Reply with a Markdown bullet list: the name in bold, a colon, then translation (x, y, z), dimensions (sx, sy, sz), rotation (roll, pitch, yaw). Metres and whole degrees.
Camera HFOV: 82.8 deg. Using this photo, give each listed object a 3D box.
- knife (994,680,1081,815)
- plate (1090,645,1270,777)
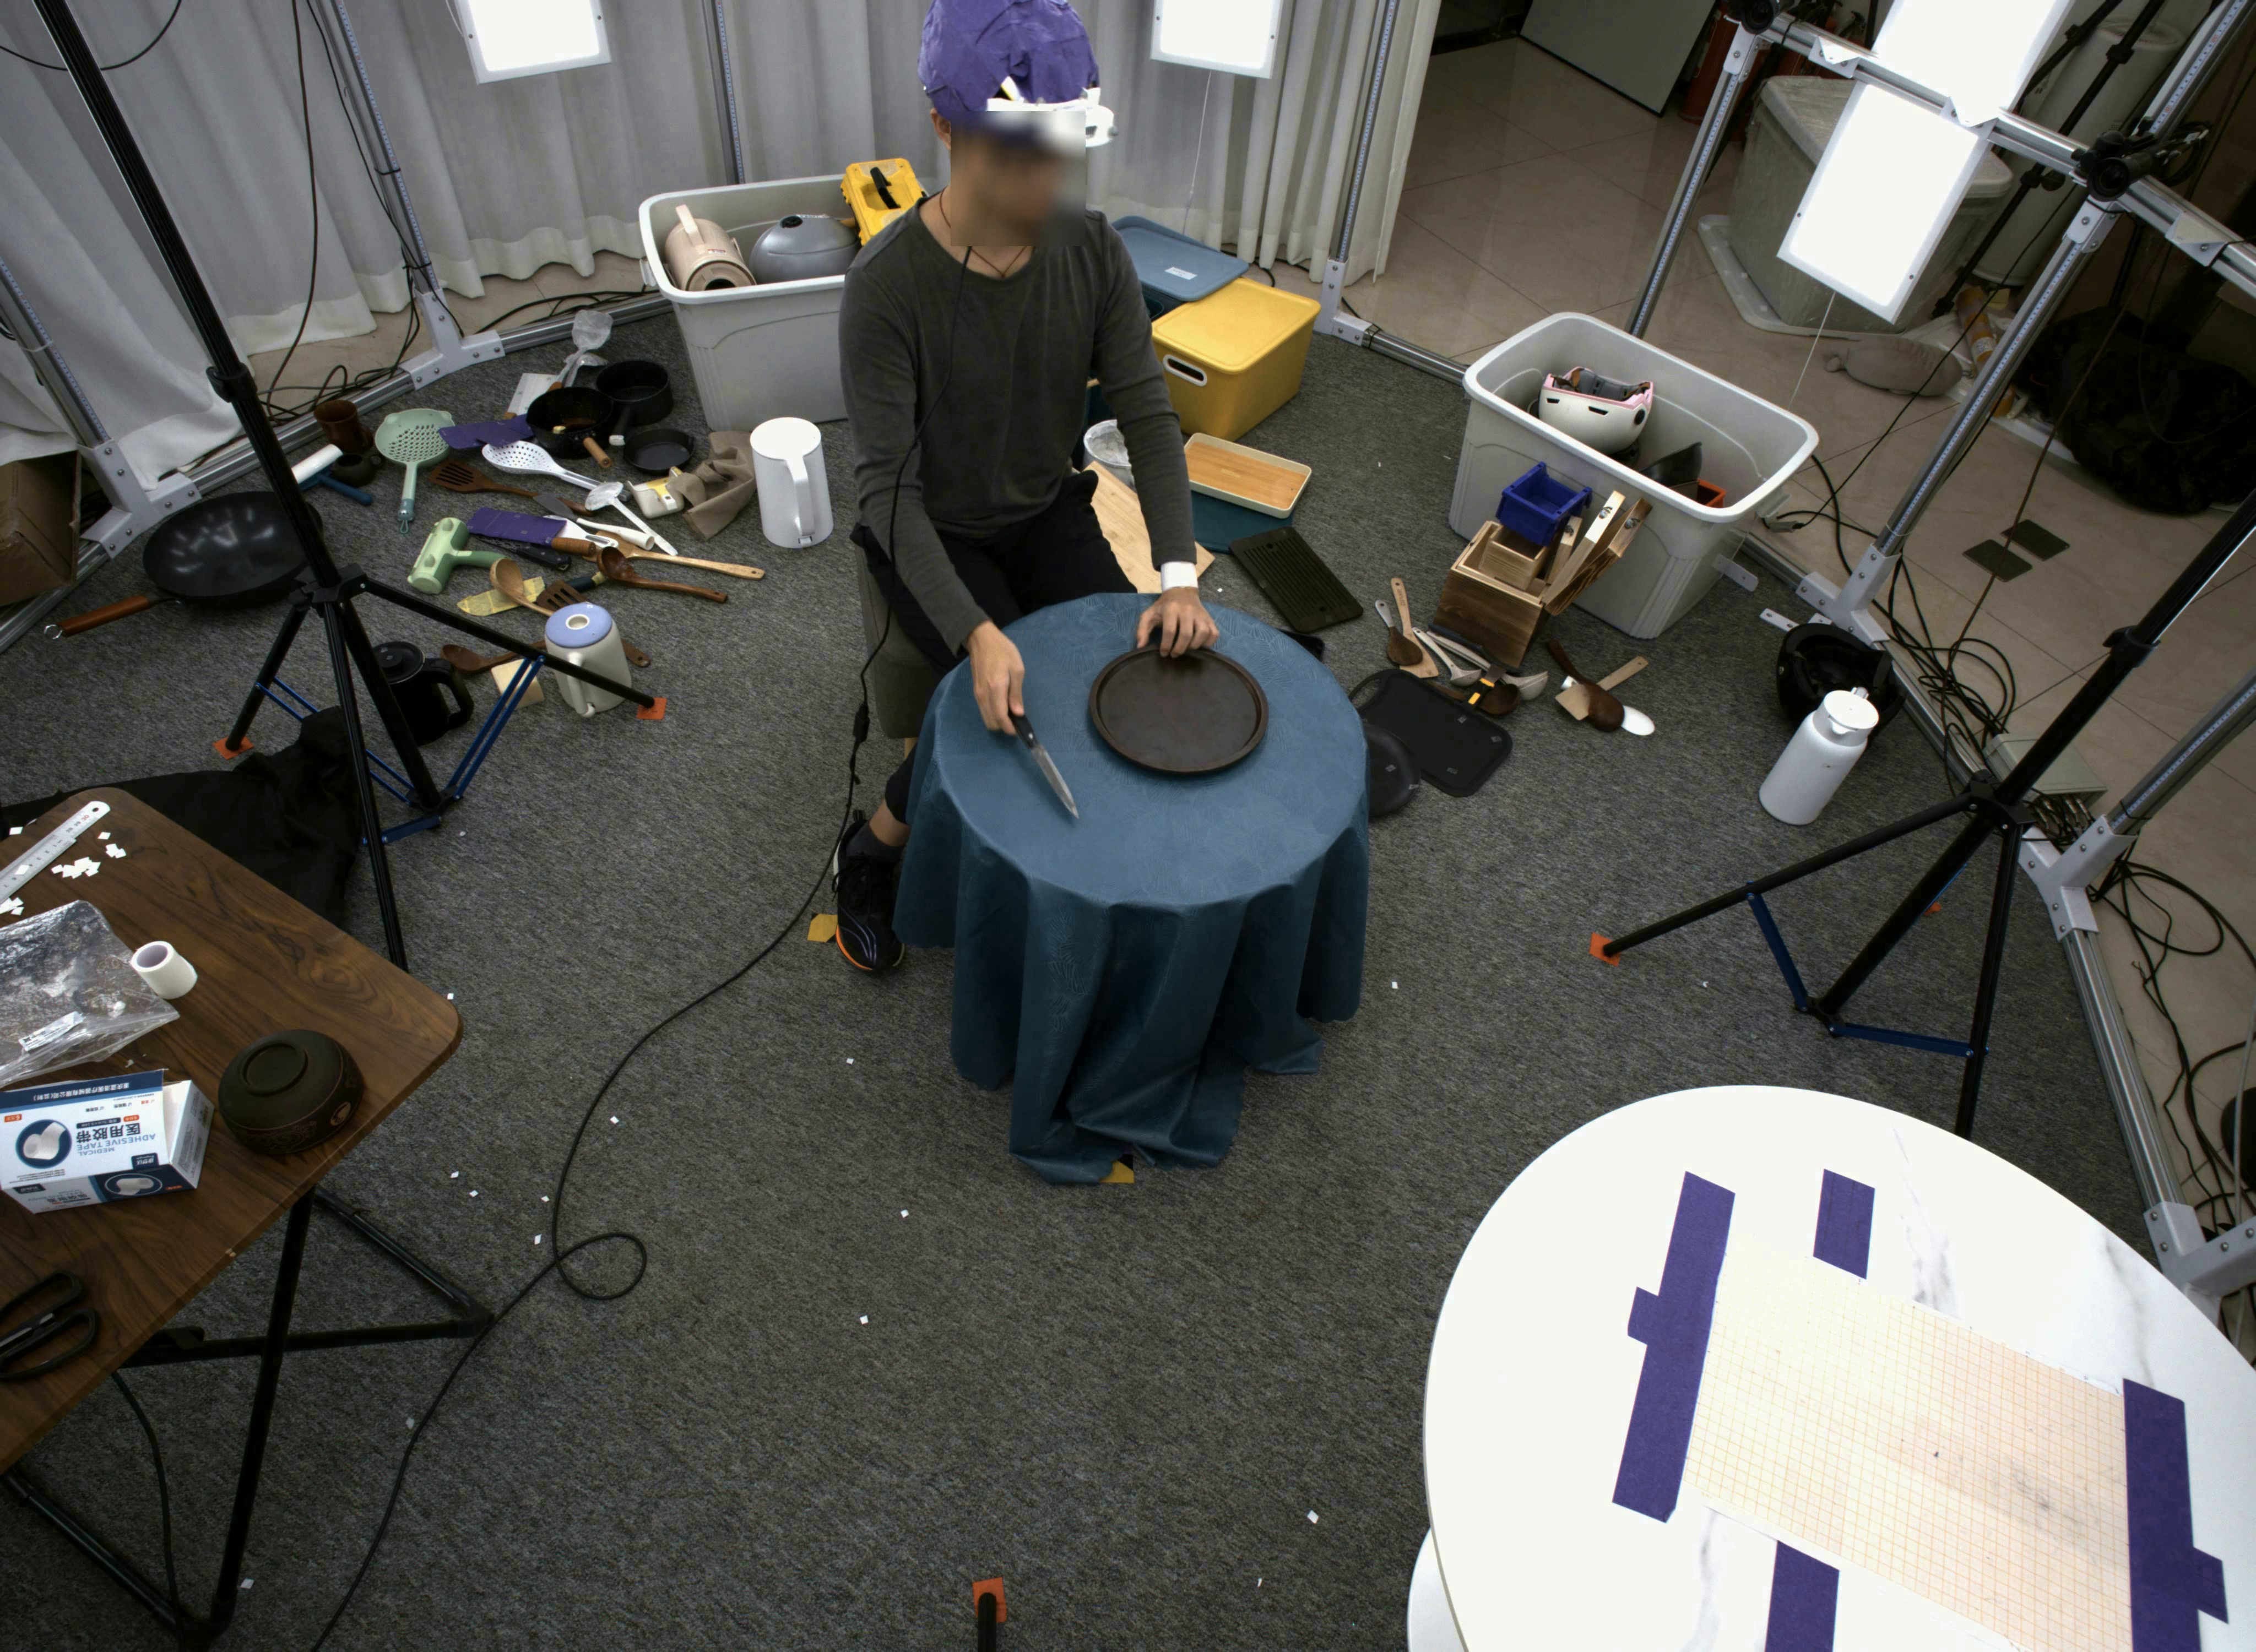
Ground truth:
- **knife**: translation (-0.122, -0.105, 1.705), dimensions (0.024, 0.016, 0.243), rotation (-12, 57, -34)
- **plate**: translation (0.072, -0.163, 1.799), dimensions (0.254, 0.028, 0.261), rotation (2, 50, -3)
